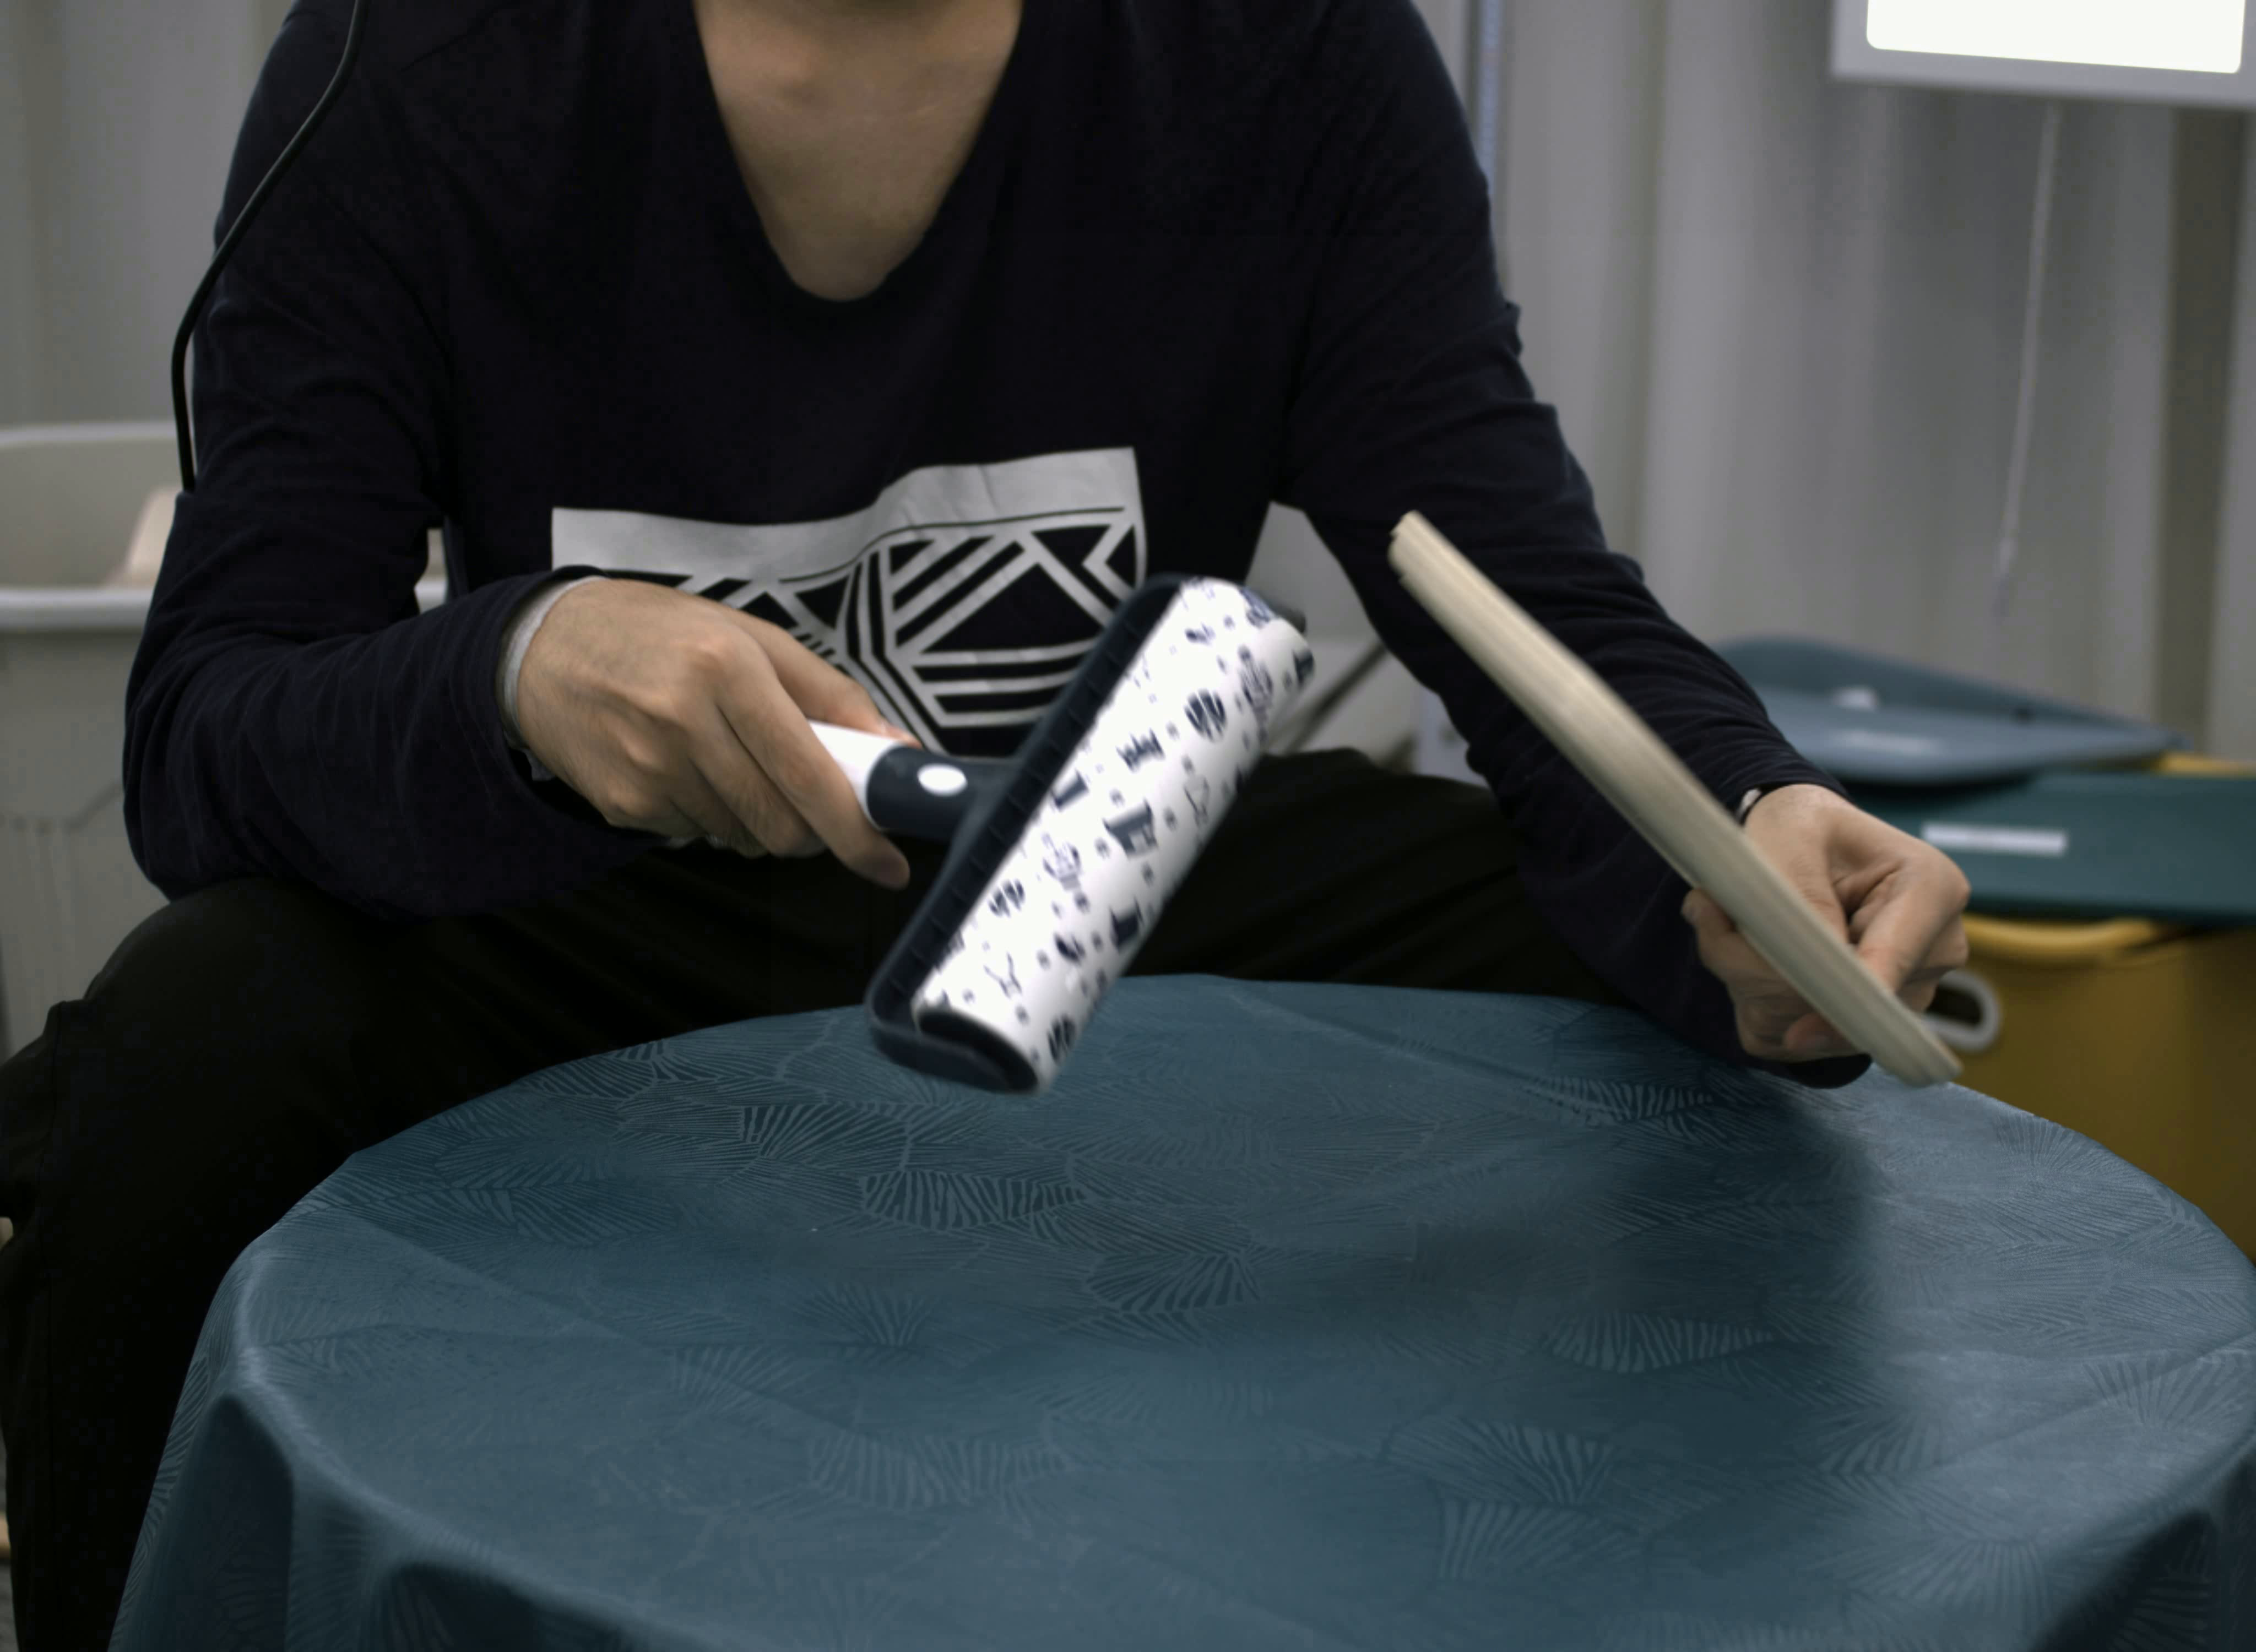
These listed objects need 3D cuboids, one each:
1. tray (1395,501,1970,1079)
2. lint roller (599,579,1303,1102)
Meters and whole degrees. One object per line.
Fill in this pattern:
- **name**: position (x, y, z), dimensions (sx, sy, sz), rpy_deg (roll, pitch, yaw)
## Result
- **tray**: position (0.156, -0.011, 1.544), dimensions (0.017, 0.173, 0.237), rpy_deg (-43, 21, 2)
- **lint roller**: position (-0.080, -0.012, 1.617), dimensions (0.244, 0.051, 0.176), rpy_deg (12, 62, 39)
